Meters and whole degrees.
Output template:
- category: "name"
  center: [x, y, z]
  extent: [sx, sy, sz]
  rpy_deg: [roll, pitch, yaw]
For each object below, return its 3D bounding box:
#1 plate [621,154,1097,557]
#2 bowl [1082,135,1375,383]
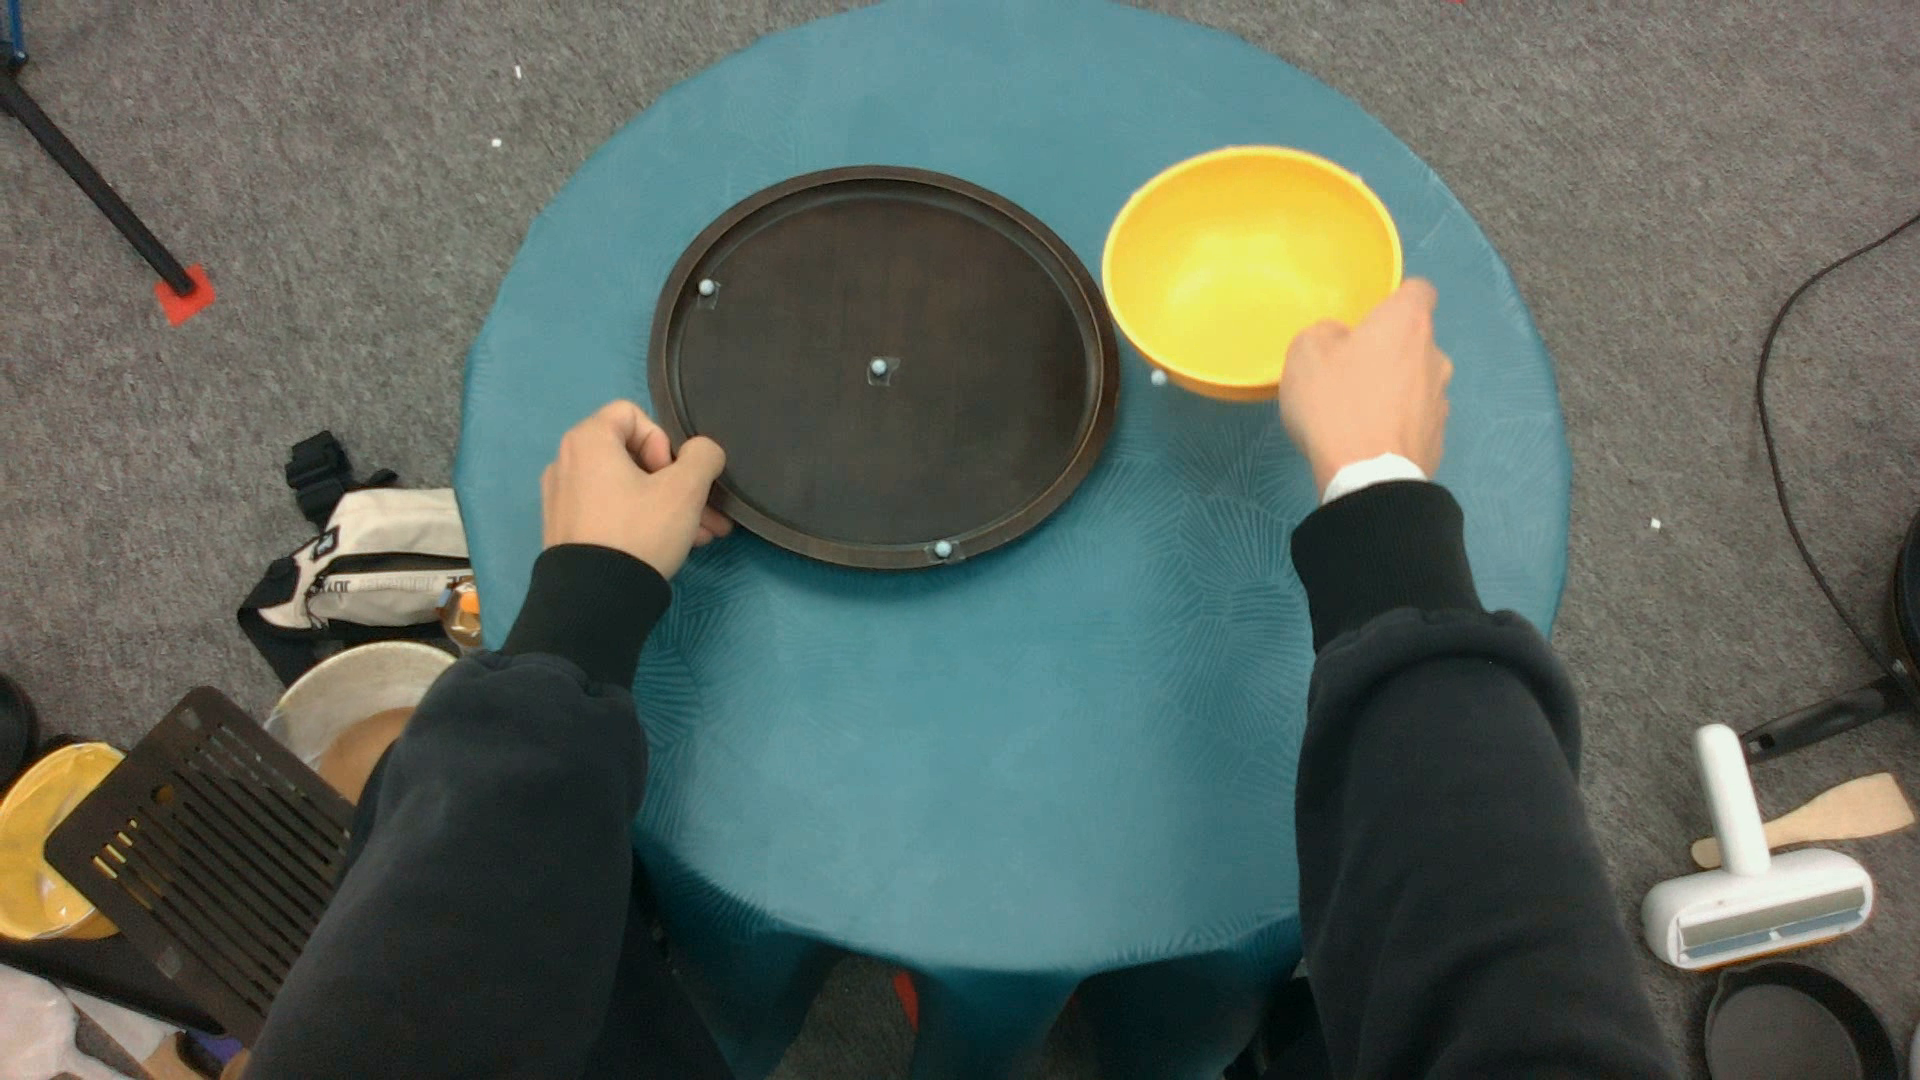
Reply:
- category: "plate"
  center: [-0.052, -0.104, 0.740]
  extent: [0.255, 0.029, 0.255]
  rpy_deg: [3, 65, -7]
- category: "bowl"
  center: [0.137, -0.134, 0.713]
  extent: [0.145, 0.060, 0.146]
  rpy_deg: [-4, 64, 8]
